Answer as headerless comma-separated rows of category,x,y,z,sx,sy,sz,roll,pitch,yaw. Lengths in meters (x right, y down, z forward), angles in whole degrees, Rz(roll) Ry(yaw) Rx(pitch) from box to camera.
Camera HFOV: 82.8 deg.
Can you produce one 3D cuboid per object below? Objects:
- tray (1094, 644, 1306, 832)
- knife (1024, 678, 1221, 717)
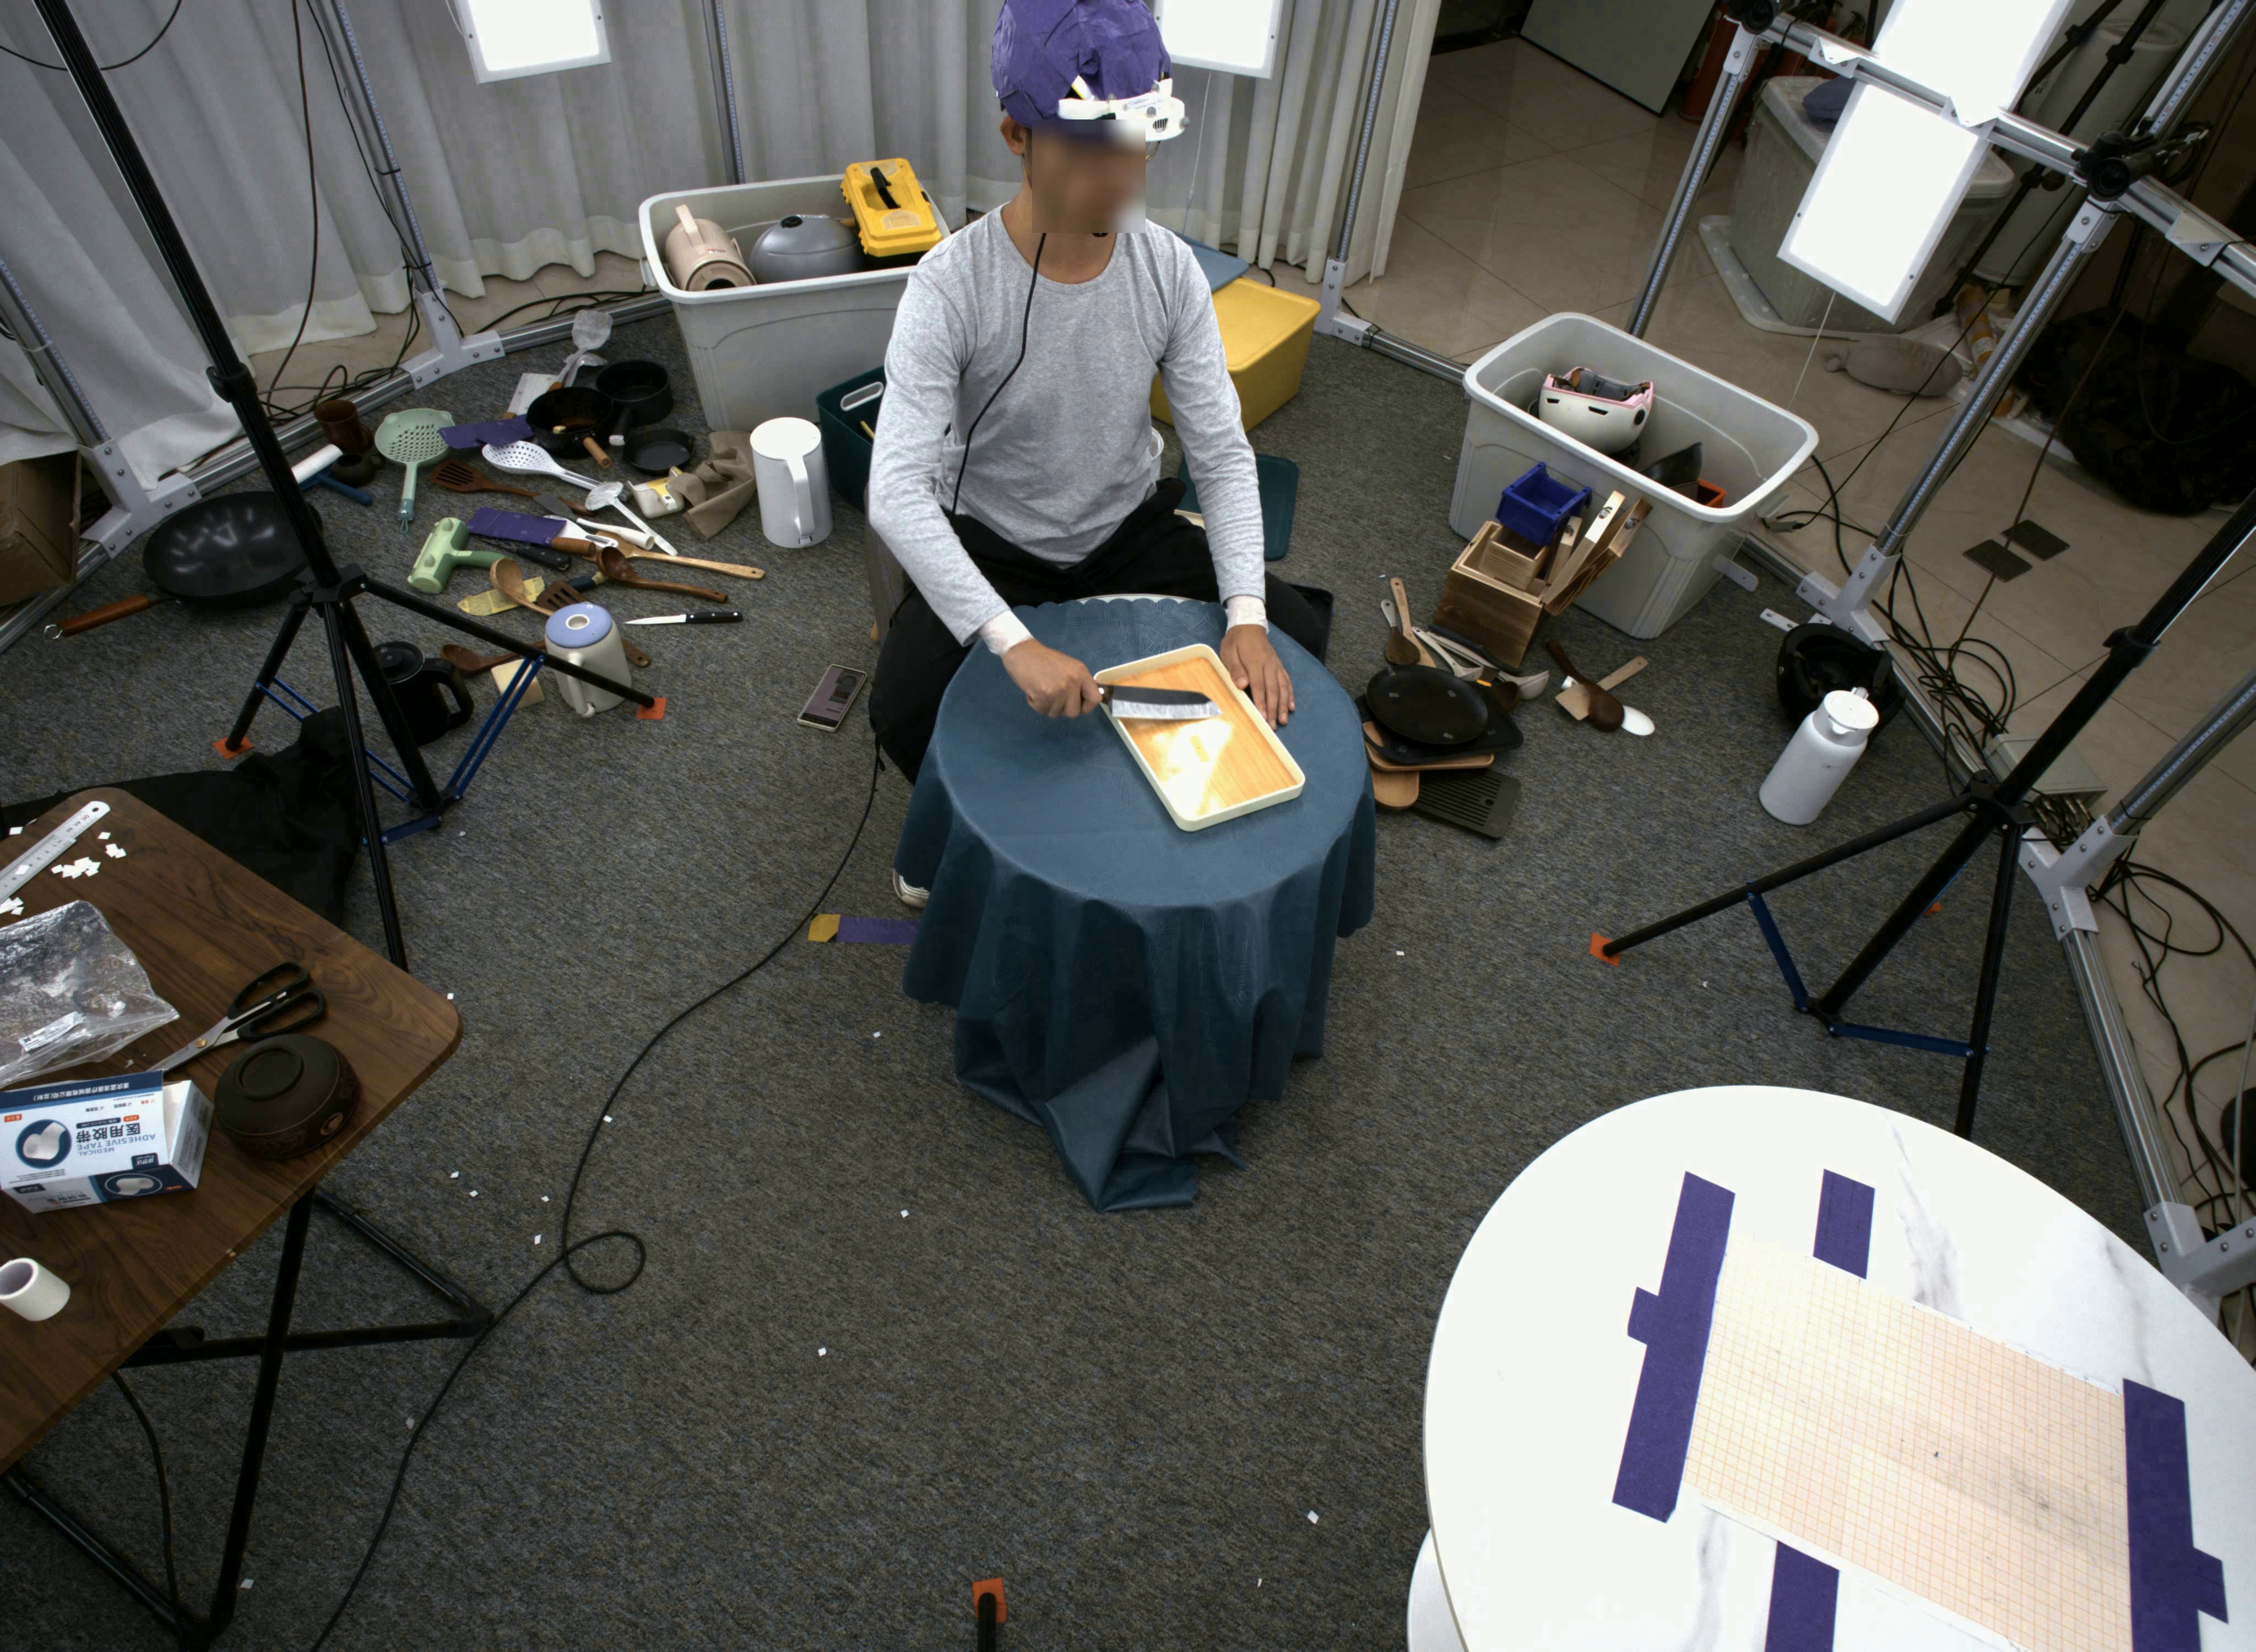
tray,0.094,-0.128,1.768,0.192,0.027,0.307,-17,52,-18
knife,-0.004,-0.176,1.762,0.288,0.020,0.051,4,80,-20
